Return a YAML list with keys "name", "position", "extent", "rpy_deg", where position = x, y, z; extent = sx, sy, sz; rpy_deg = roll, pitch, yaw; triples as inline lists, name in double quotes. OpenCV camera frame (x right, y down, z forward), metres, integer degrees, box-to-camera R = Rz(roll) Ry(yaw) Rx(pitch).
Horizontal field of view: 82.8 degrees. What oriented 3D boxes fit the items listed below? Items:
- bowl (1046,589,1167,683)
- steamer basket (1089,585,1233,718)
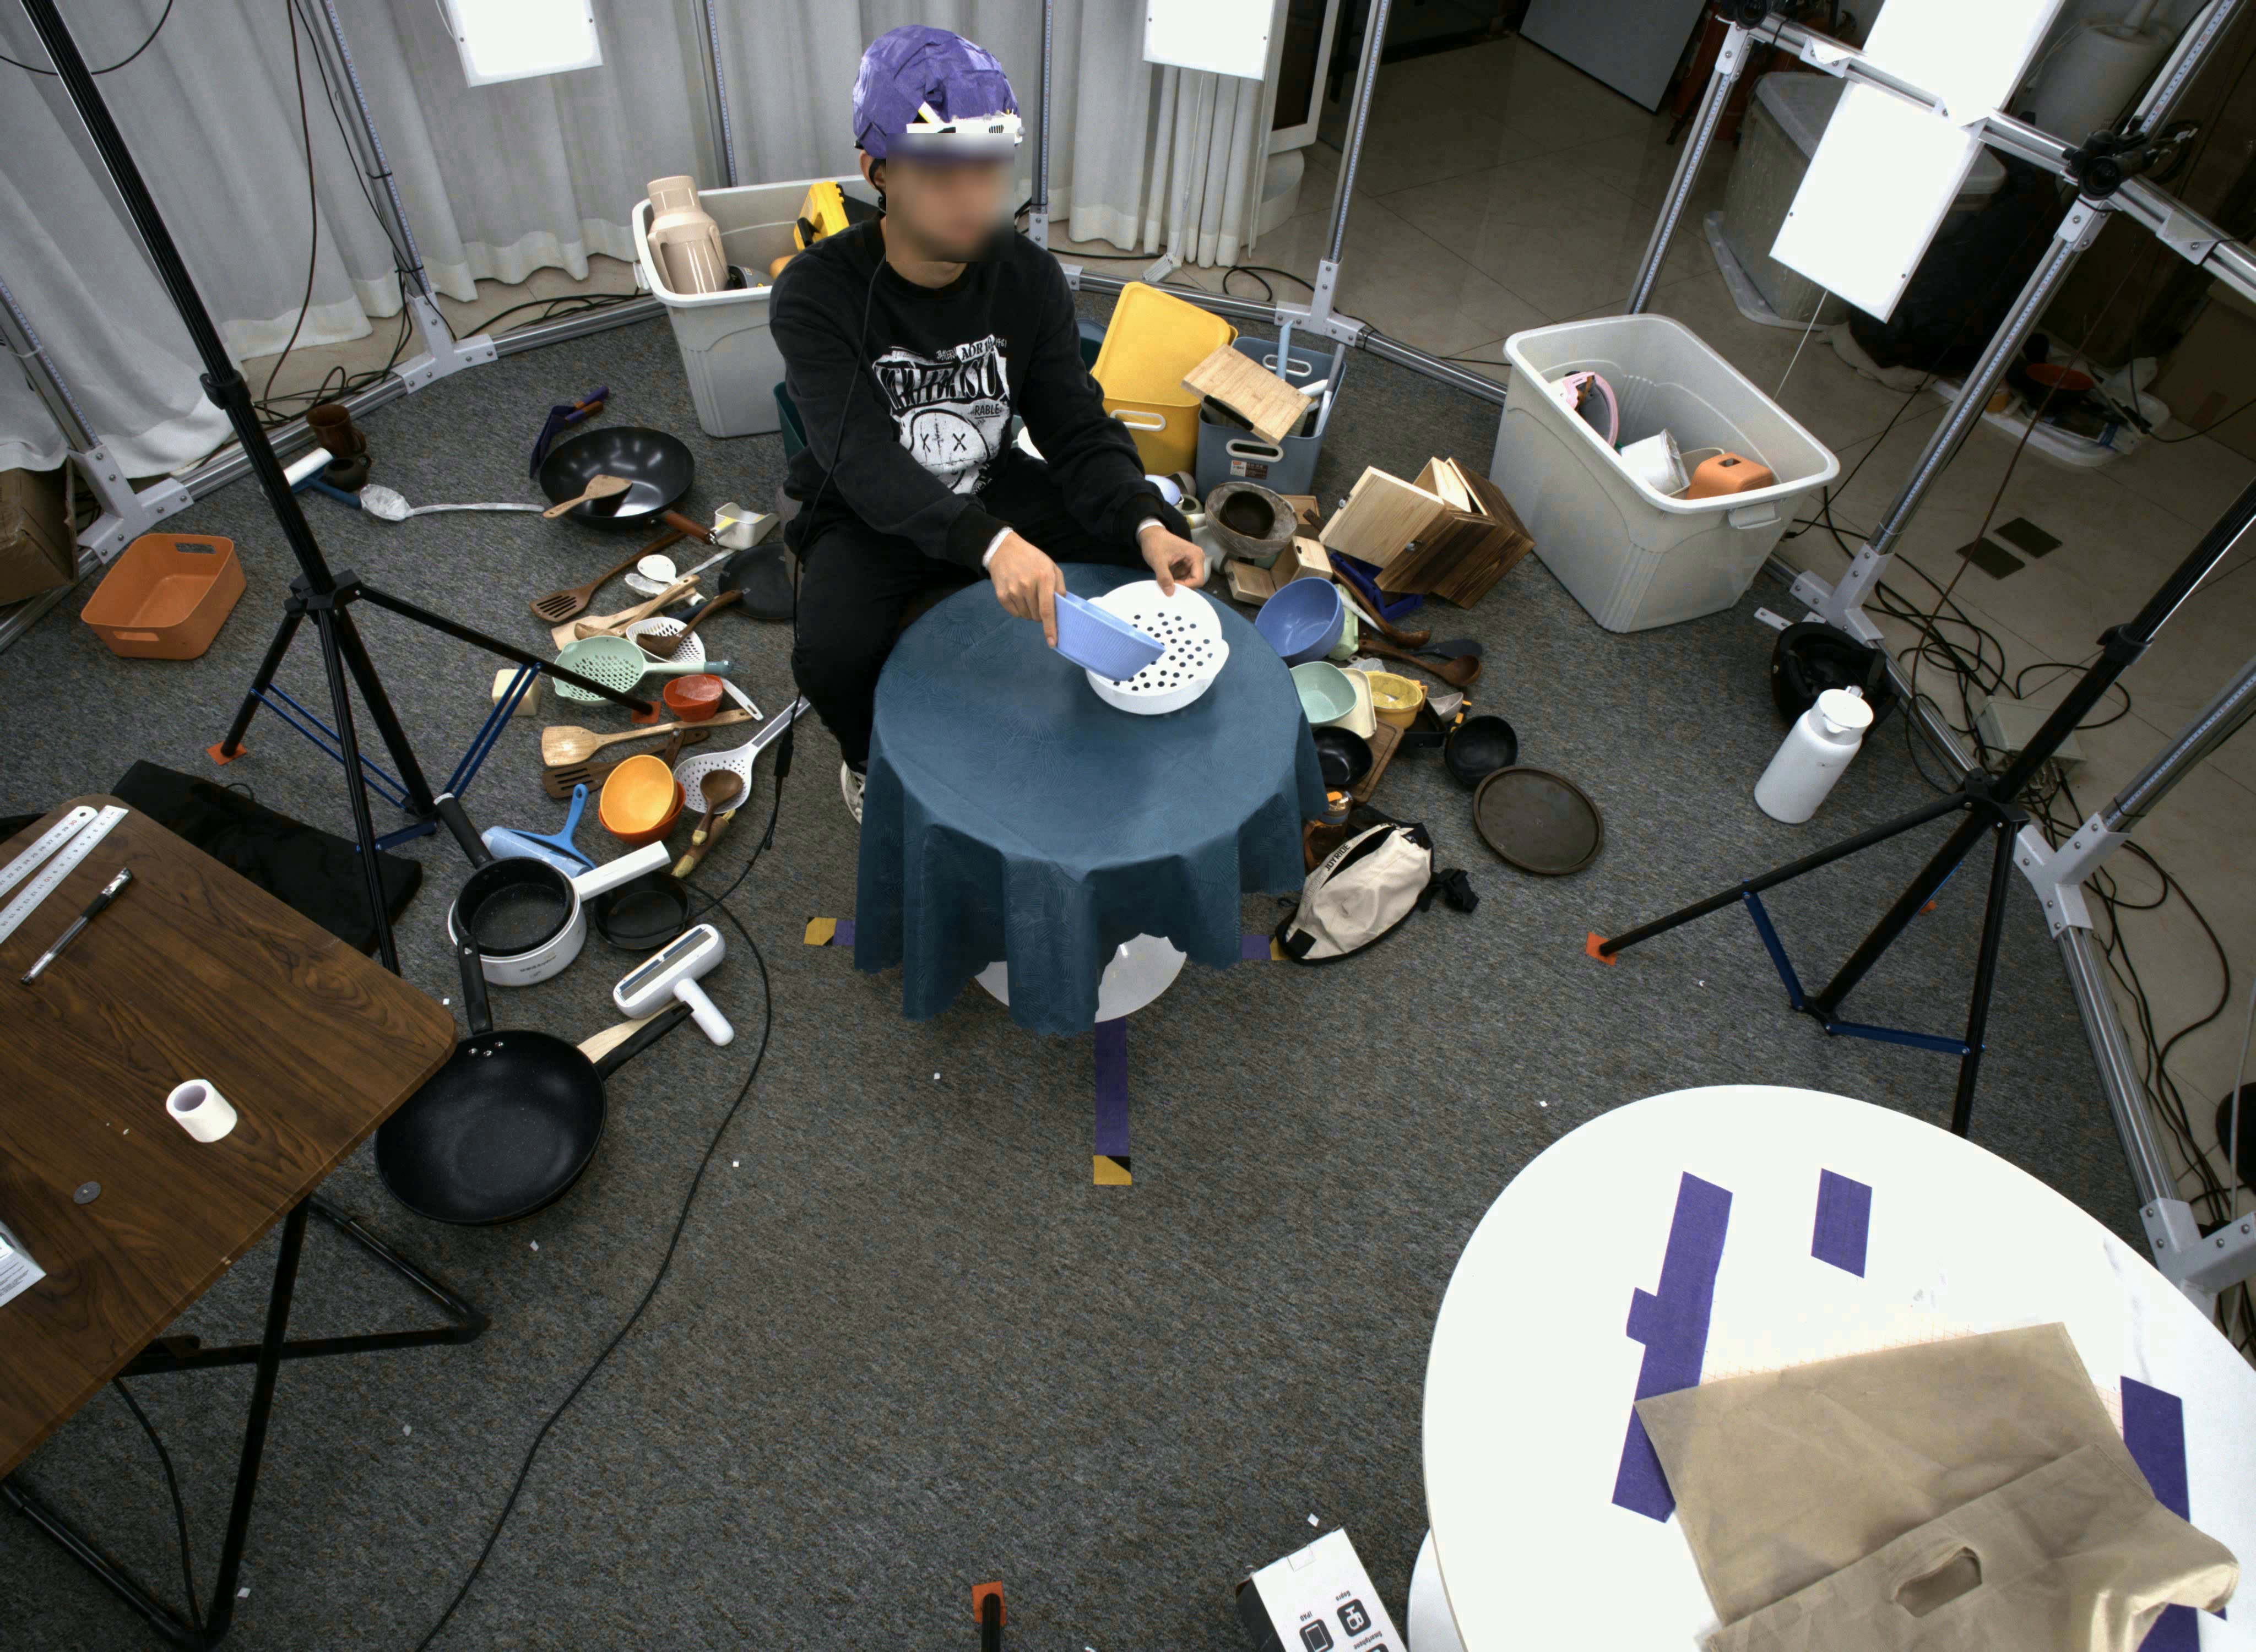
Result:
- name: "bowl"
  position: [-0.041, -0.245, 1.696]
  extent: [0.175, 0.070, 0.178]
  rpy_deg: [27, 12, -6]
- name: "steamer basket"
  position: [0.038, -0.249, 1.840]
  extent: [0.232, 0.067, 0.205]
  rpy_deg: [22, 63, 17]
